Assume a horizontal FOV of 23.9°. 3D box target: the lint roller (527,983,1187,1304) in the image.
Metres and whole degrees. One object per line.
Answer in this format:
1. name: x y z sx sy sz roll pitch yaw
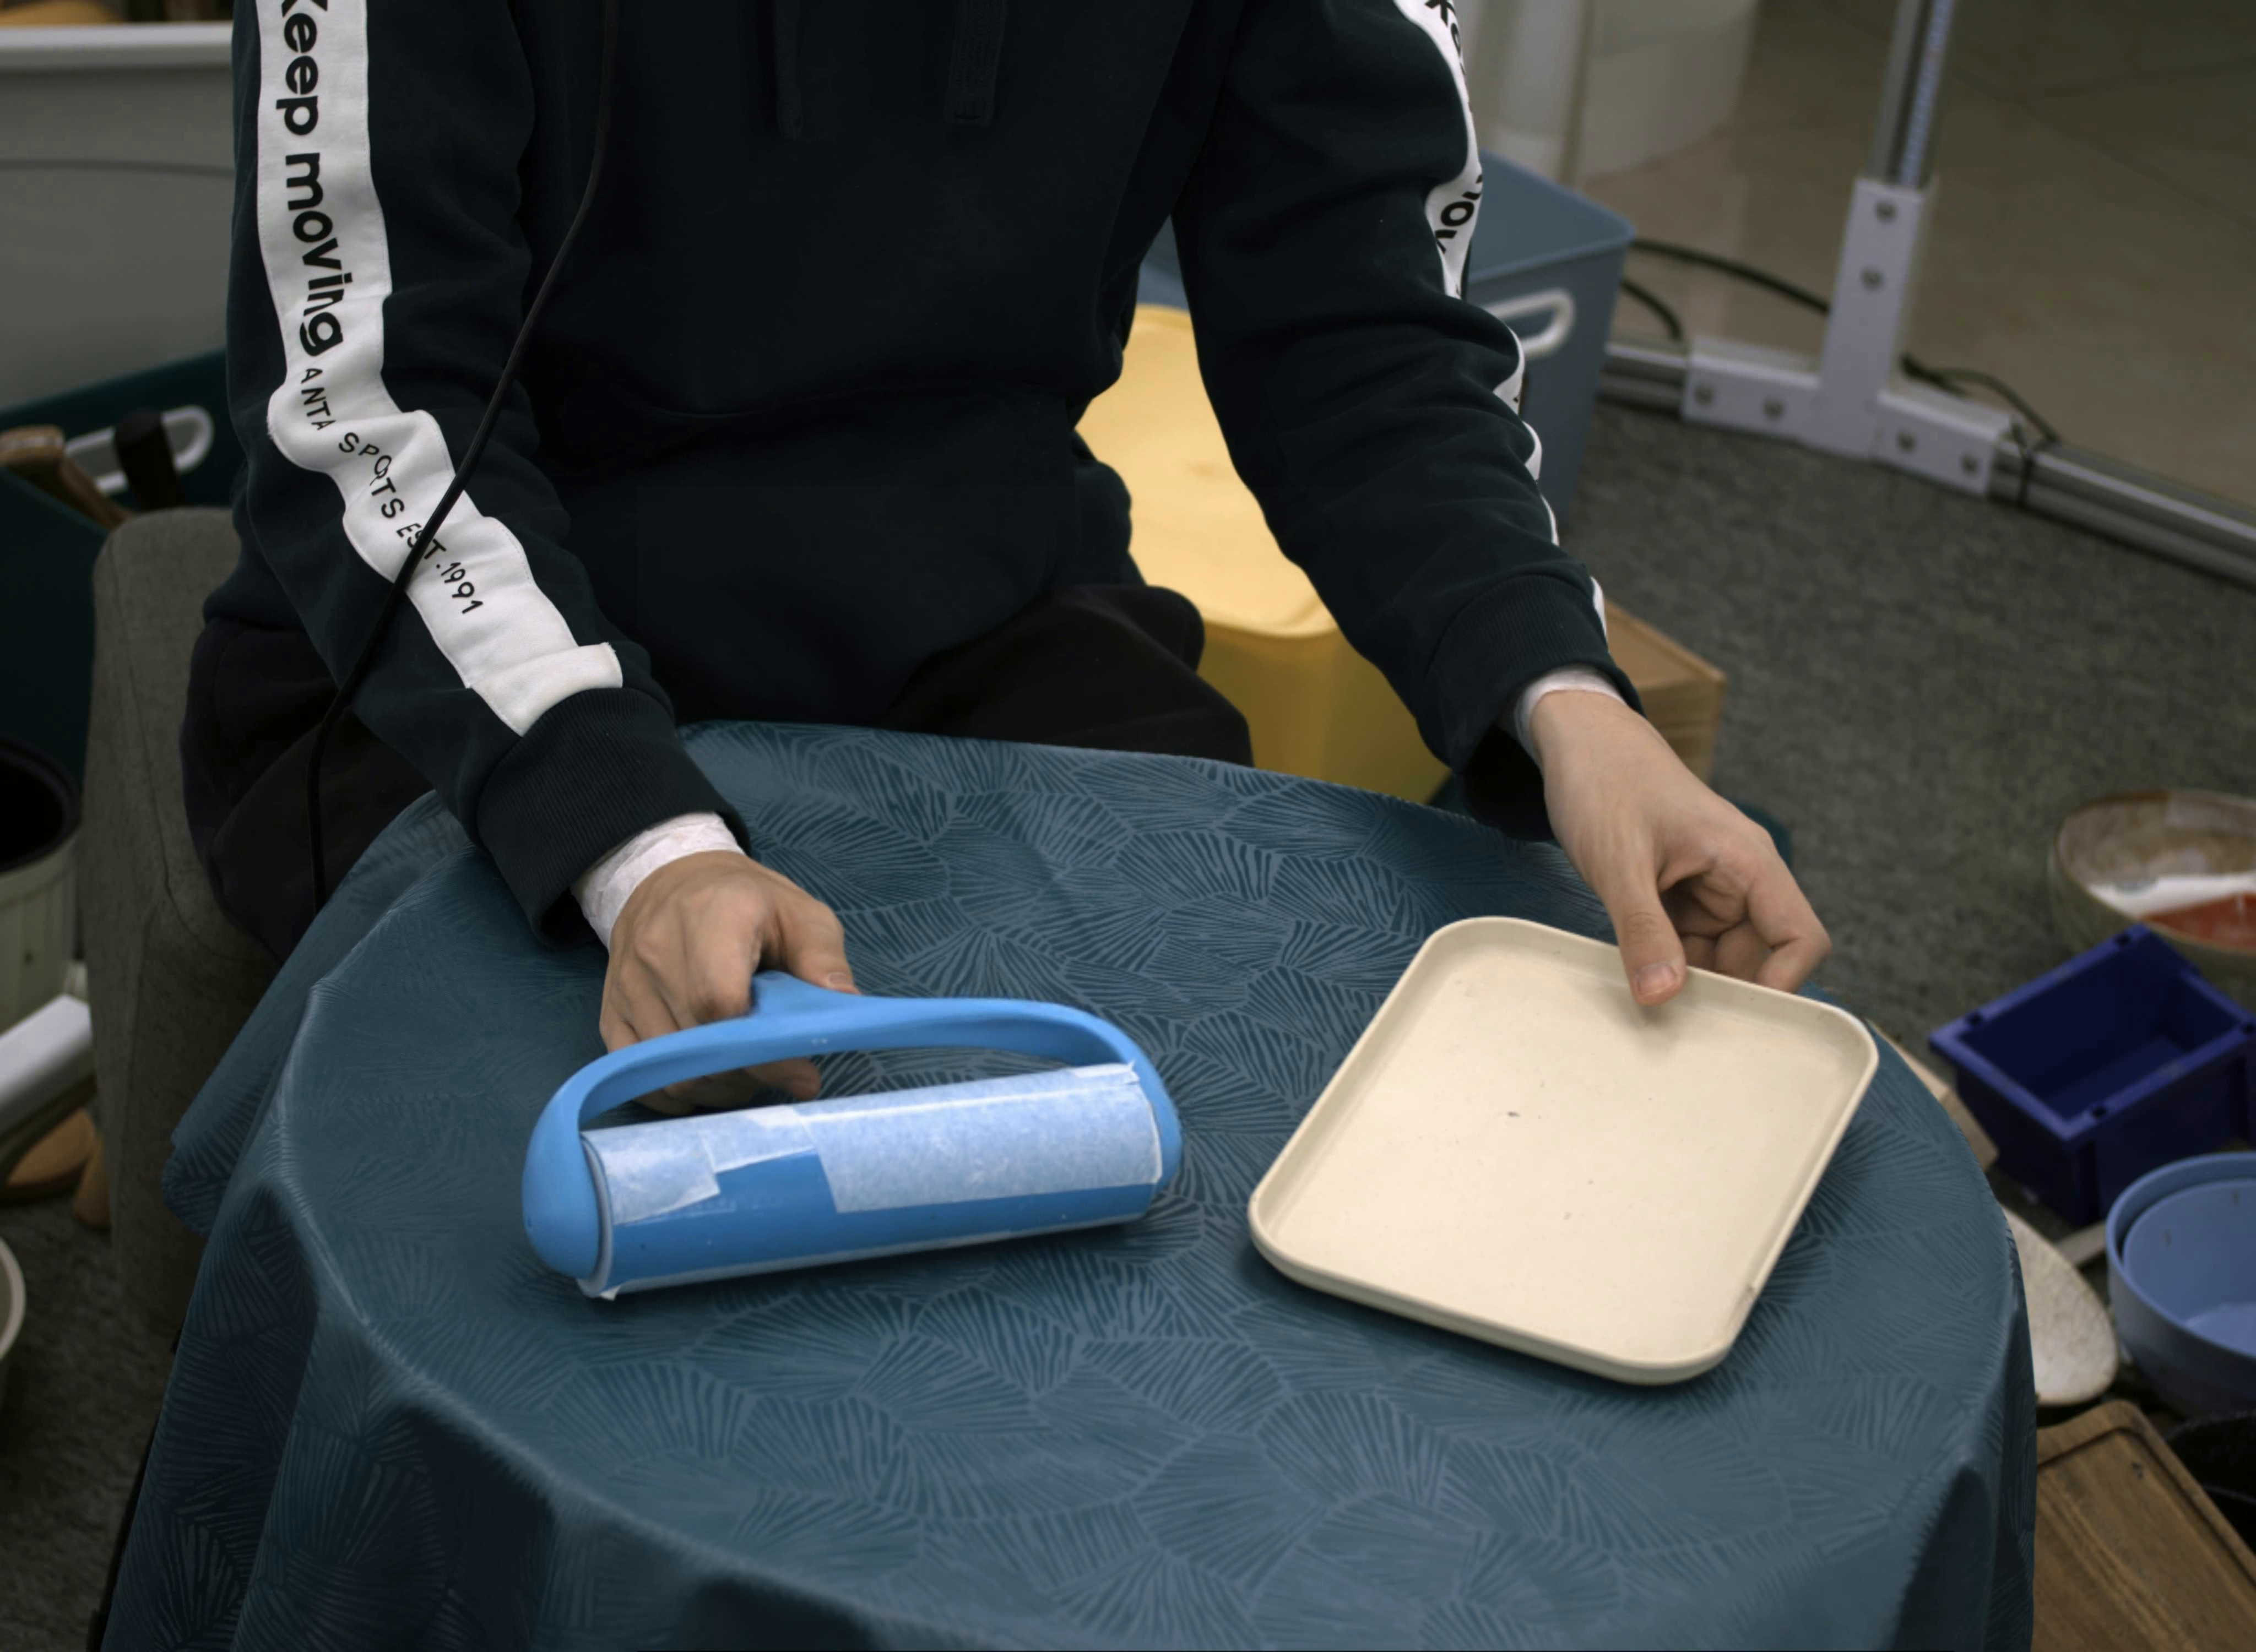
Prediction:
1. lint roller: -0.112 0.088 1.782 0.227 0.067 0.182 -9 31 -25

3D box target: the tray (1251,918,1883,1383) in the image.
1. tray: 0.153 0.109 1.823 0.171 0.017 0.240 14 33 17
